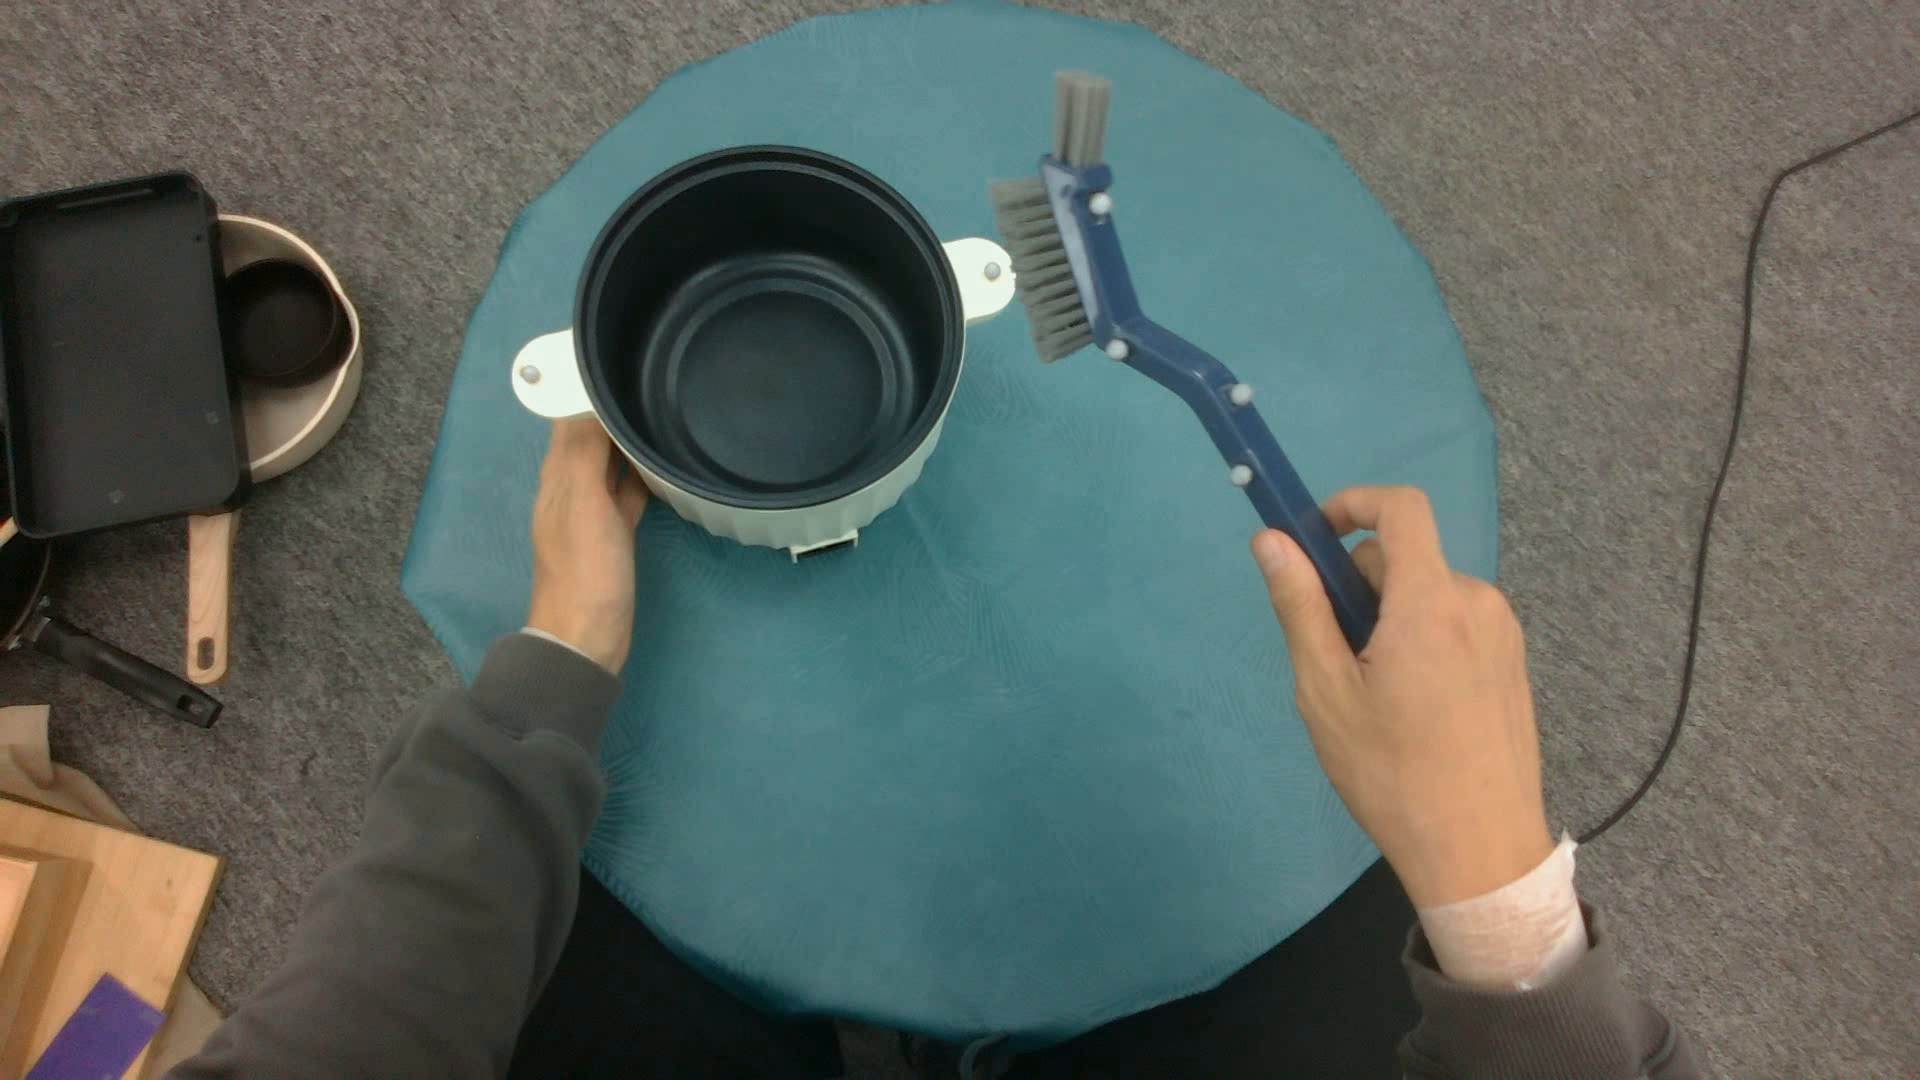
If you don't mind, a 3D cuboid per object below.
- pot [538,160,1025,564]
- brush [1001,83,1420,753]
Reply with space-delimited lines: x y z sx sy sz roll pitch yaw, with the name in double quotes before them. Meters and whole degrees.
"pot" -0.091 -0.090 0.722 0.241 0.142 0.190 -15 82 -9
"brush" 0.106 -0.046 0.533 0.273 0.095 0.033 51 37 9
